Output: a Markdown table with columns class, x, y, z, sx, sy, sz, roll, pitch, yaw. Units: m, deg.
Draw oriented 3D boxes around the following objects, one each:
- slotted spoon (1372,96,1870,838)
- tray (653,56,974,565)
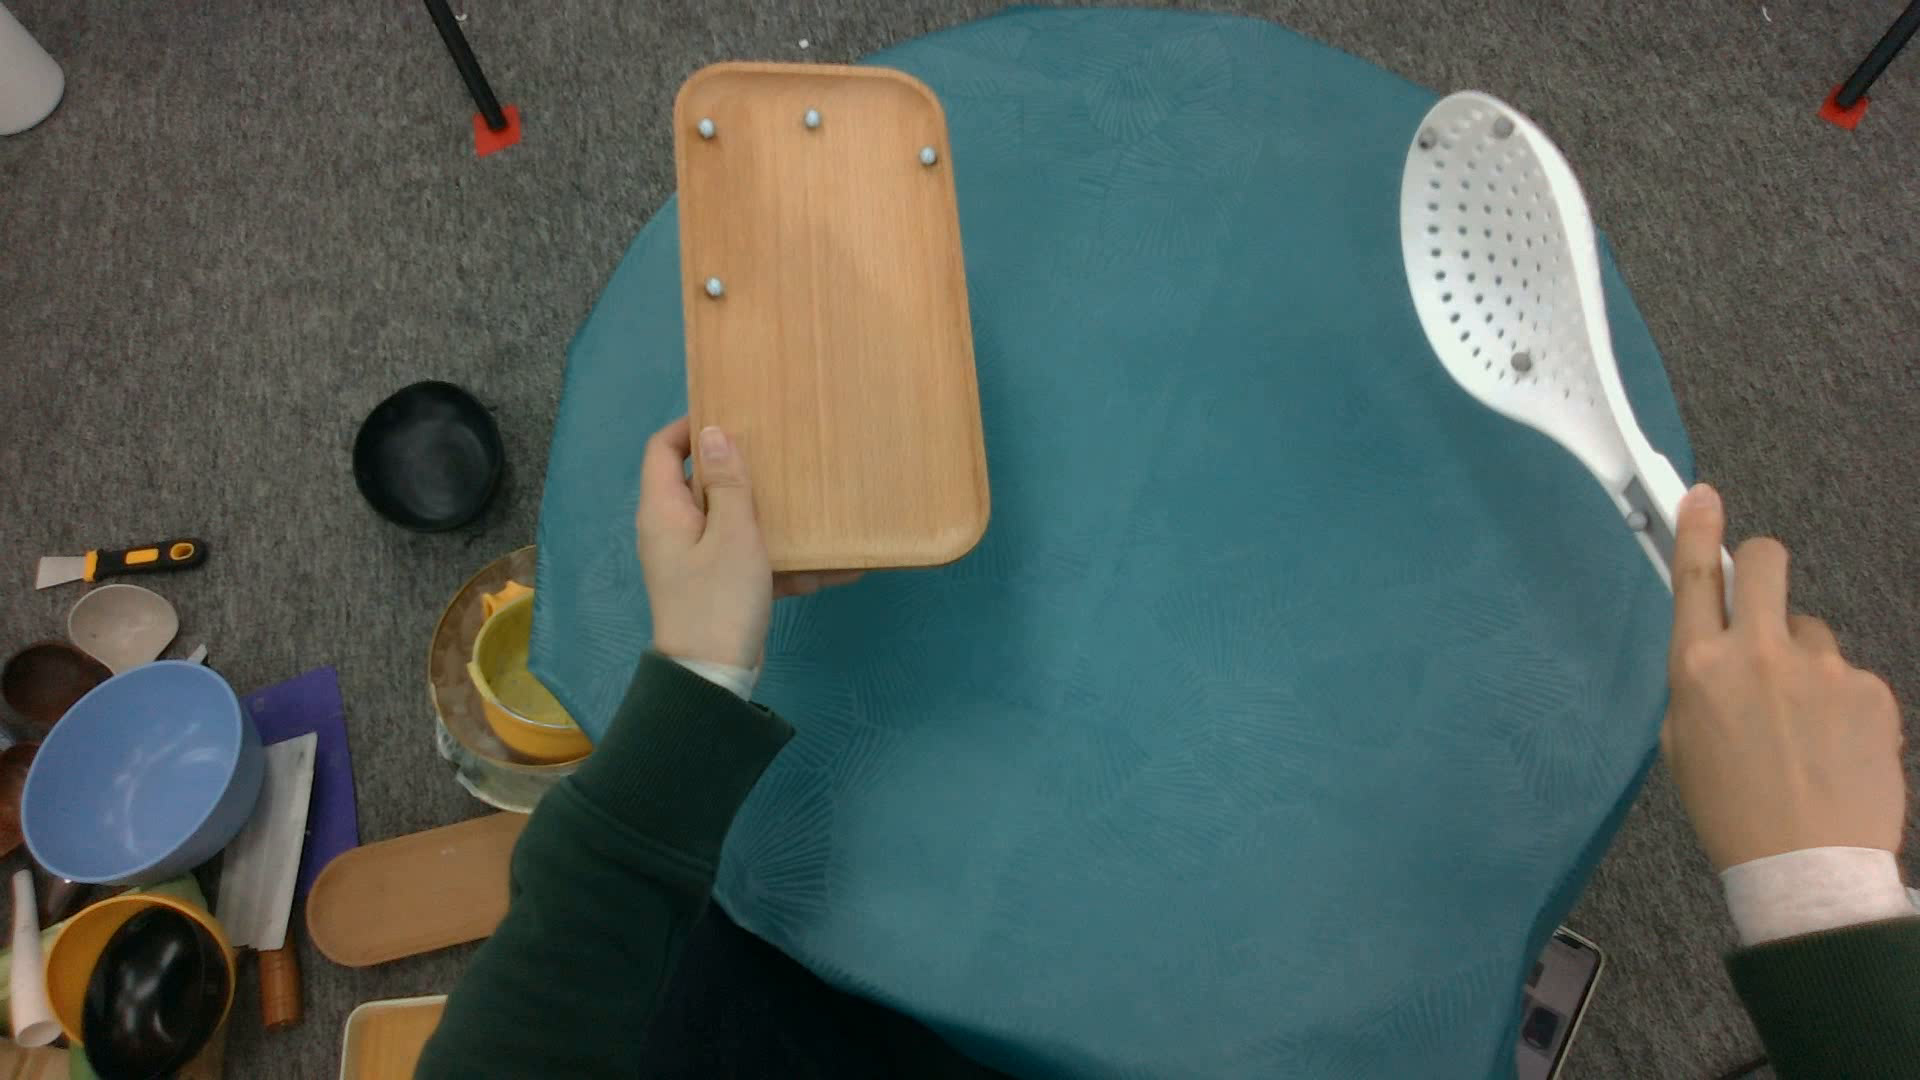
| class | x | y | z | sx | sy | sz | roll | pitch | yaw |
| --- | --- | --- | --- | --- | --- | --- | --- | --- | --- |
| slotted spoon | 0.258 | -0.043 | 0.567 | 0.046 | 0.135 | 0.351 | -13 | 60 | -4 |
| tray | -0.068 | -0.108 | 0.619 | 0.131 | 0.023 | 0.251 | -3 | 72 | -11 |
